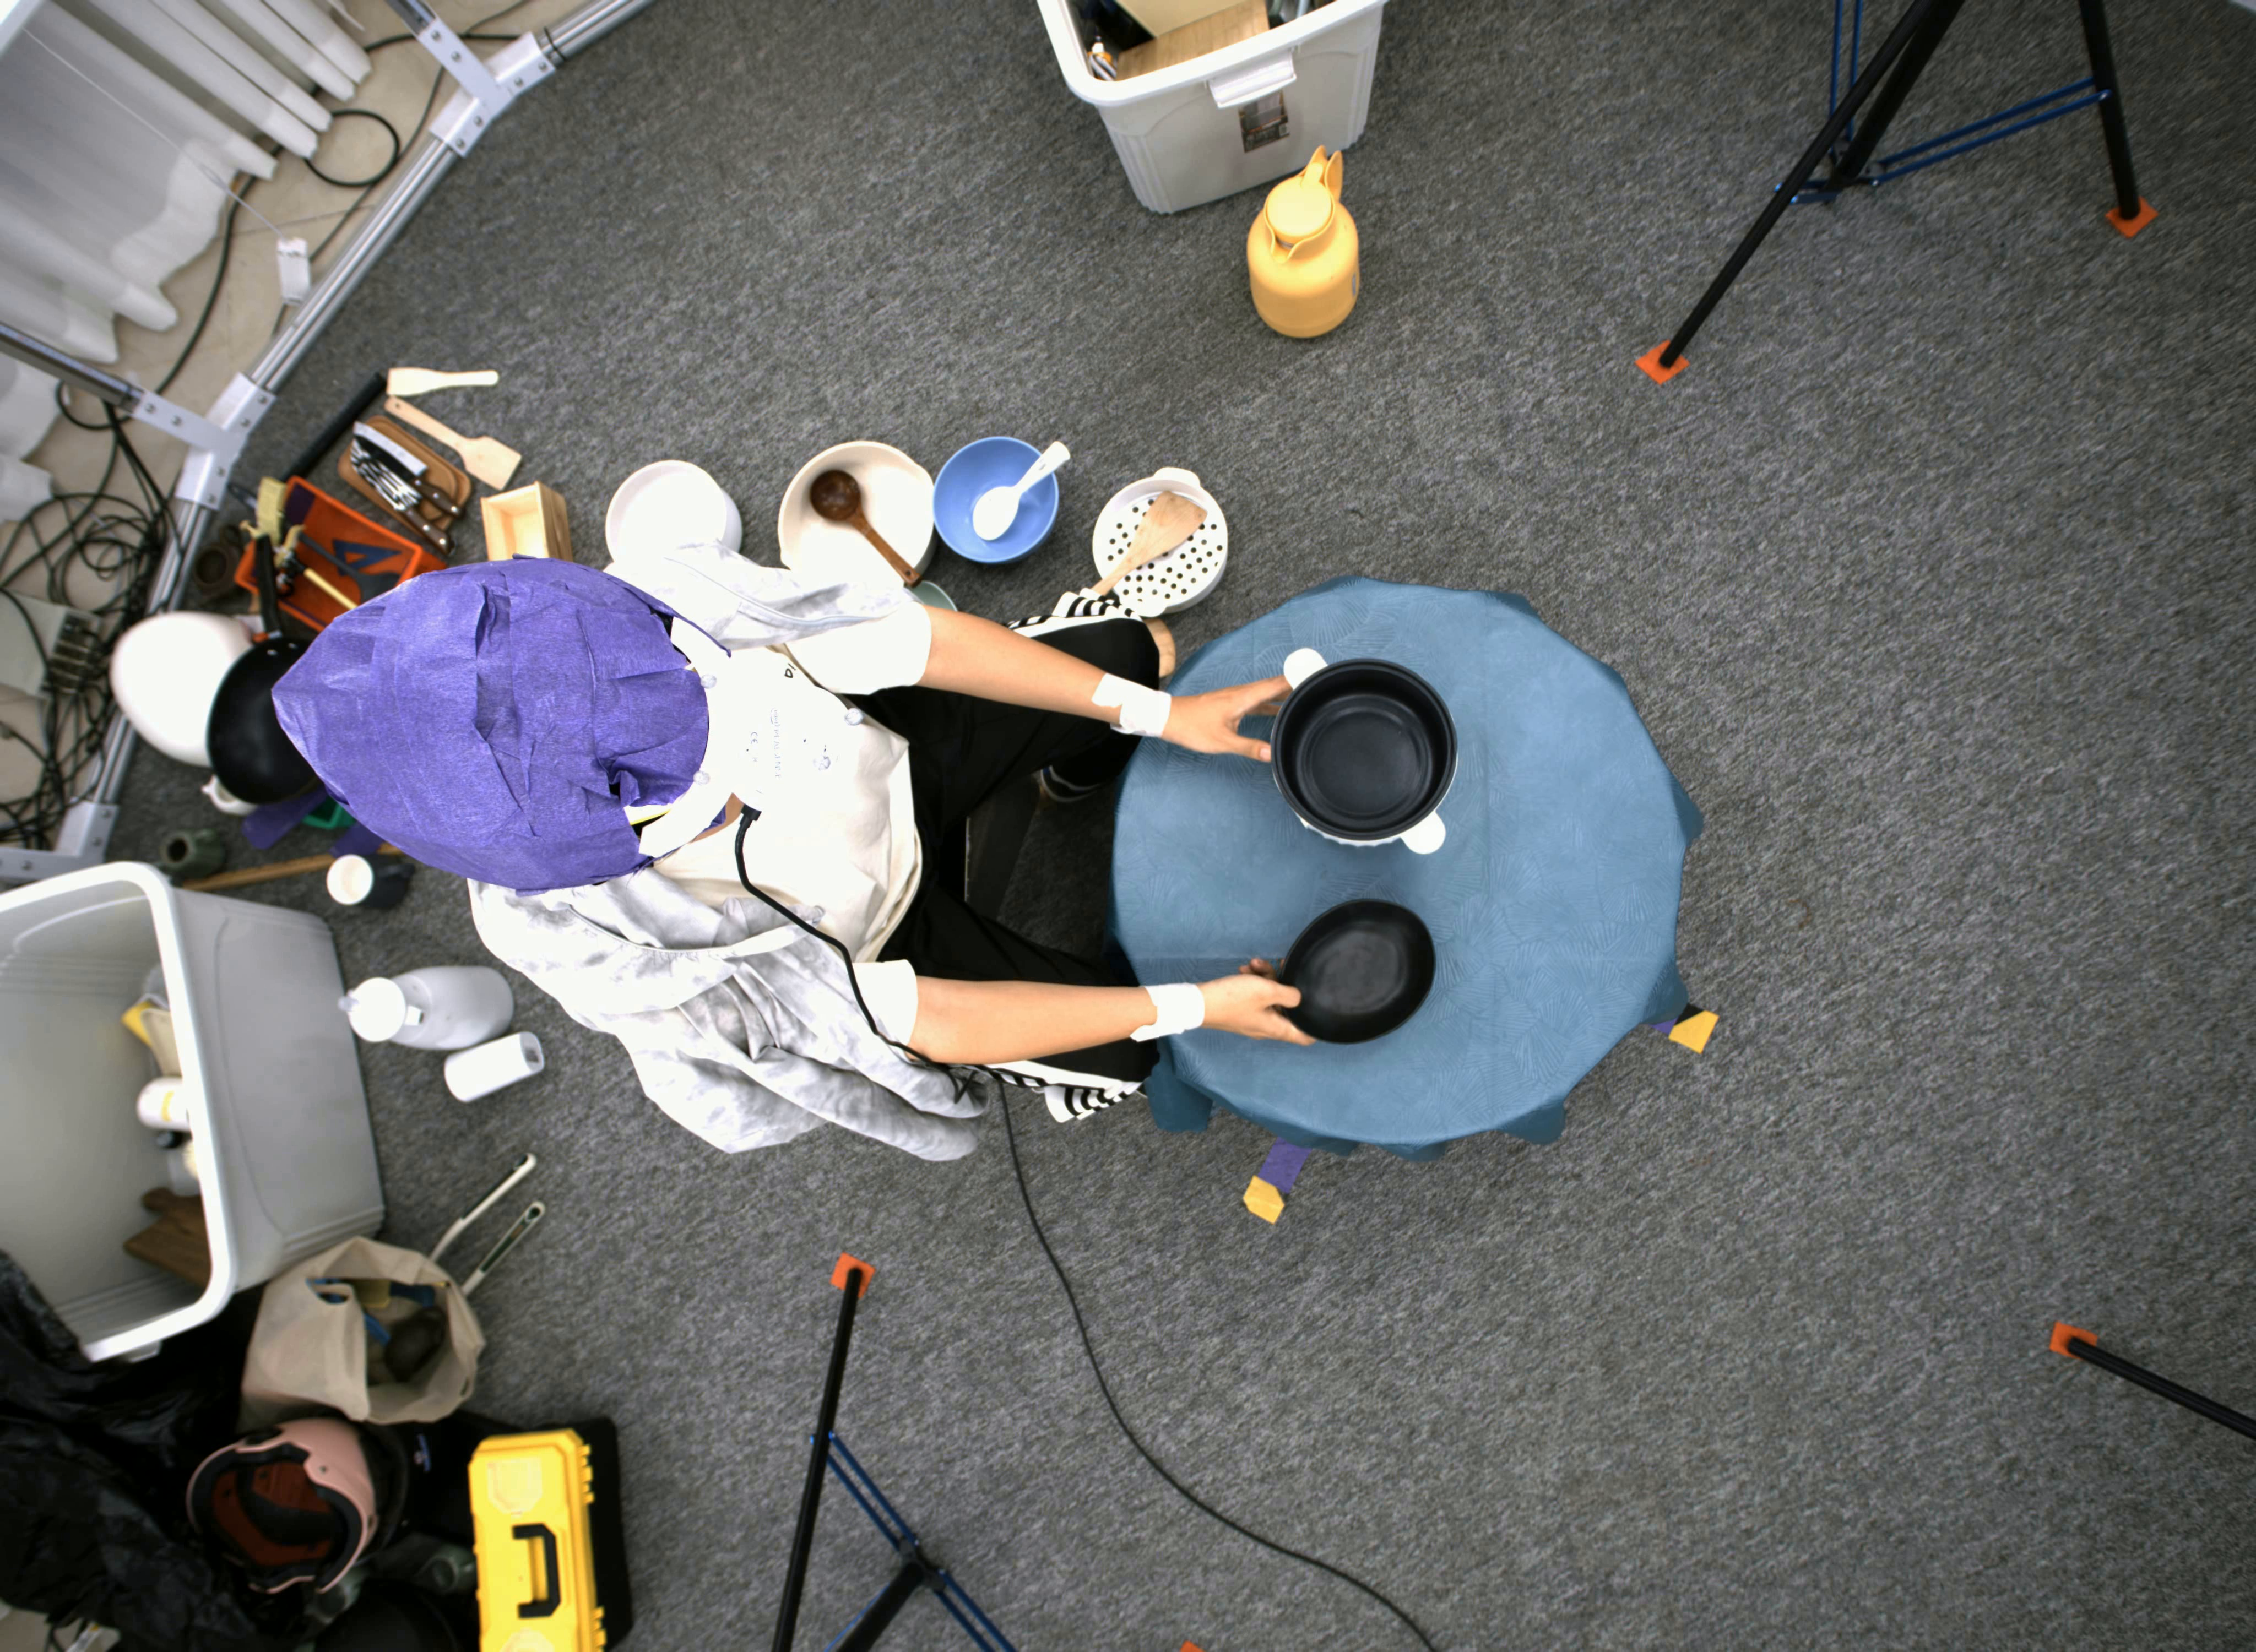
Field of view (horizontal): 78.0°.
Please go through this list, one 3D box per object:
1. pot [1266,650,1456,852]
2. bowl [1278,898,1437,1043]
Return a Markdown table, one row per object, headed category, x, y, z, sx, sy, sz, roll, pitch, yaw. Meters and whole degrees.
| category | x | y | z | sx | sy | sz | roll | pitch | yaw |
| --- | --- | --- | --- | --- | --- | --- | --- | --- | --- |
| pot | 0.242 | -0.074 | 1.401 | 0.192 | 0.142 | 0.239 | -37 | 81 | 9 |
| bowl | 0.237 | 0.150 | 1.427 | 0.171 | 0.066 | 0.136 | -37 | 80 | 8 |
